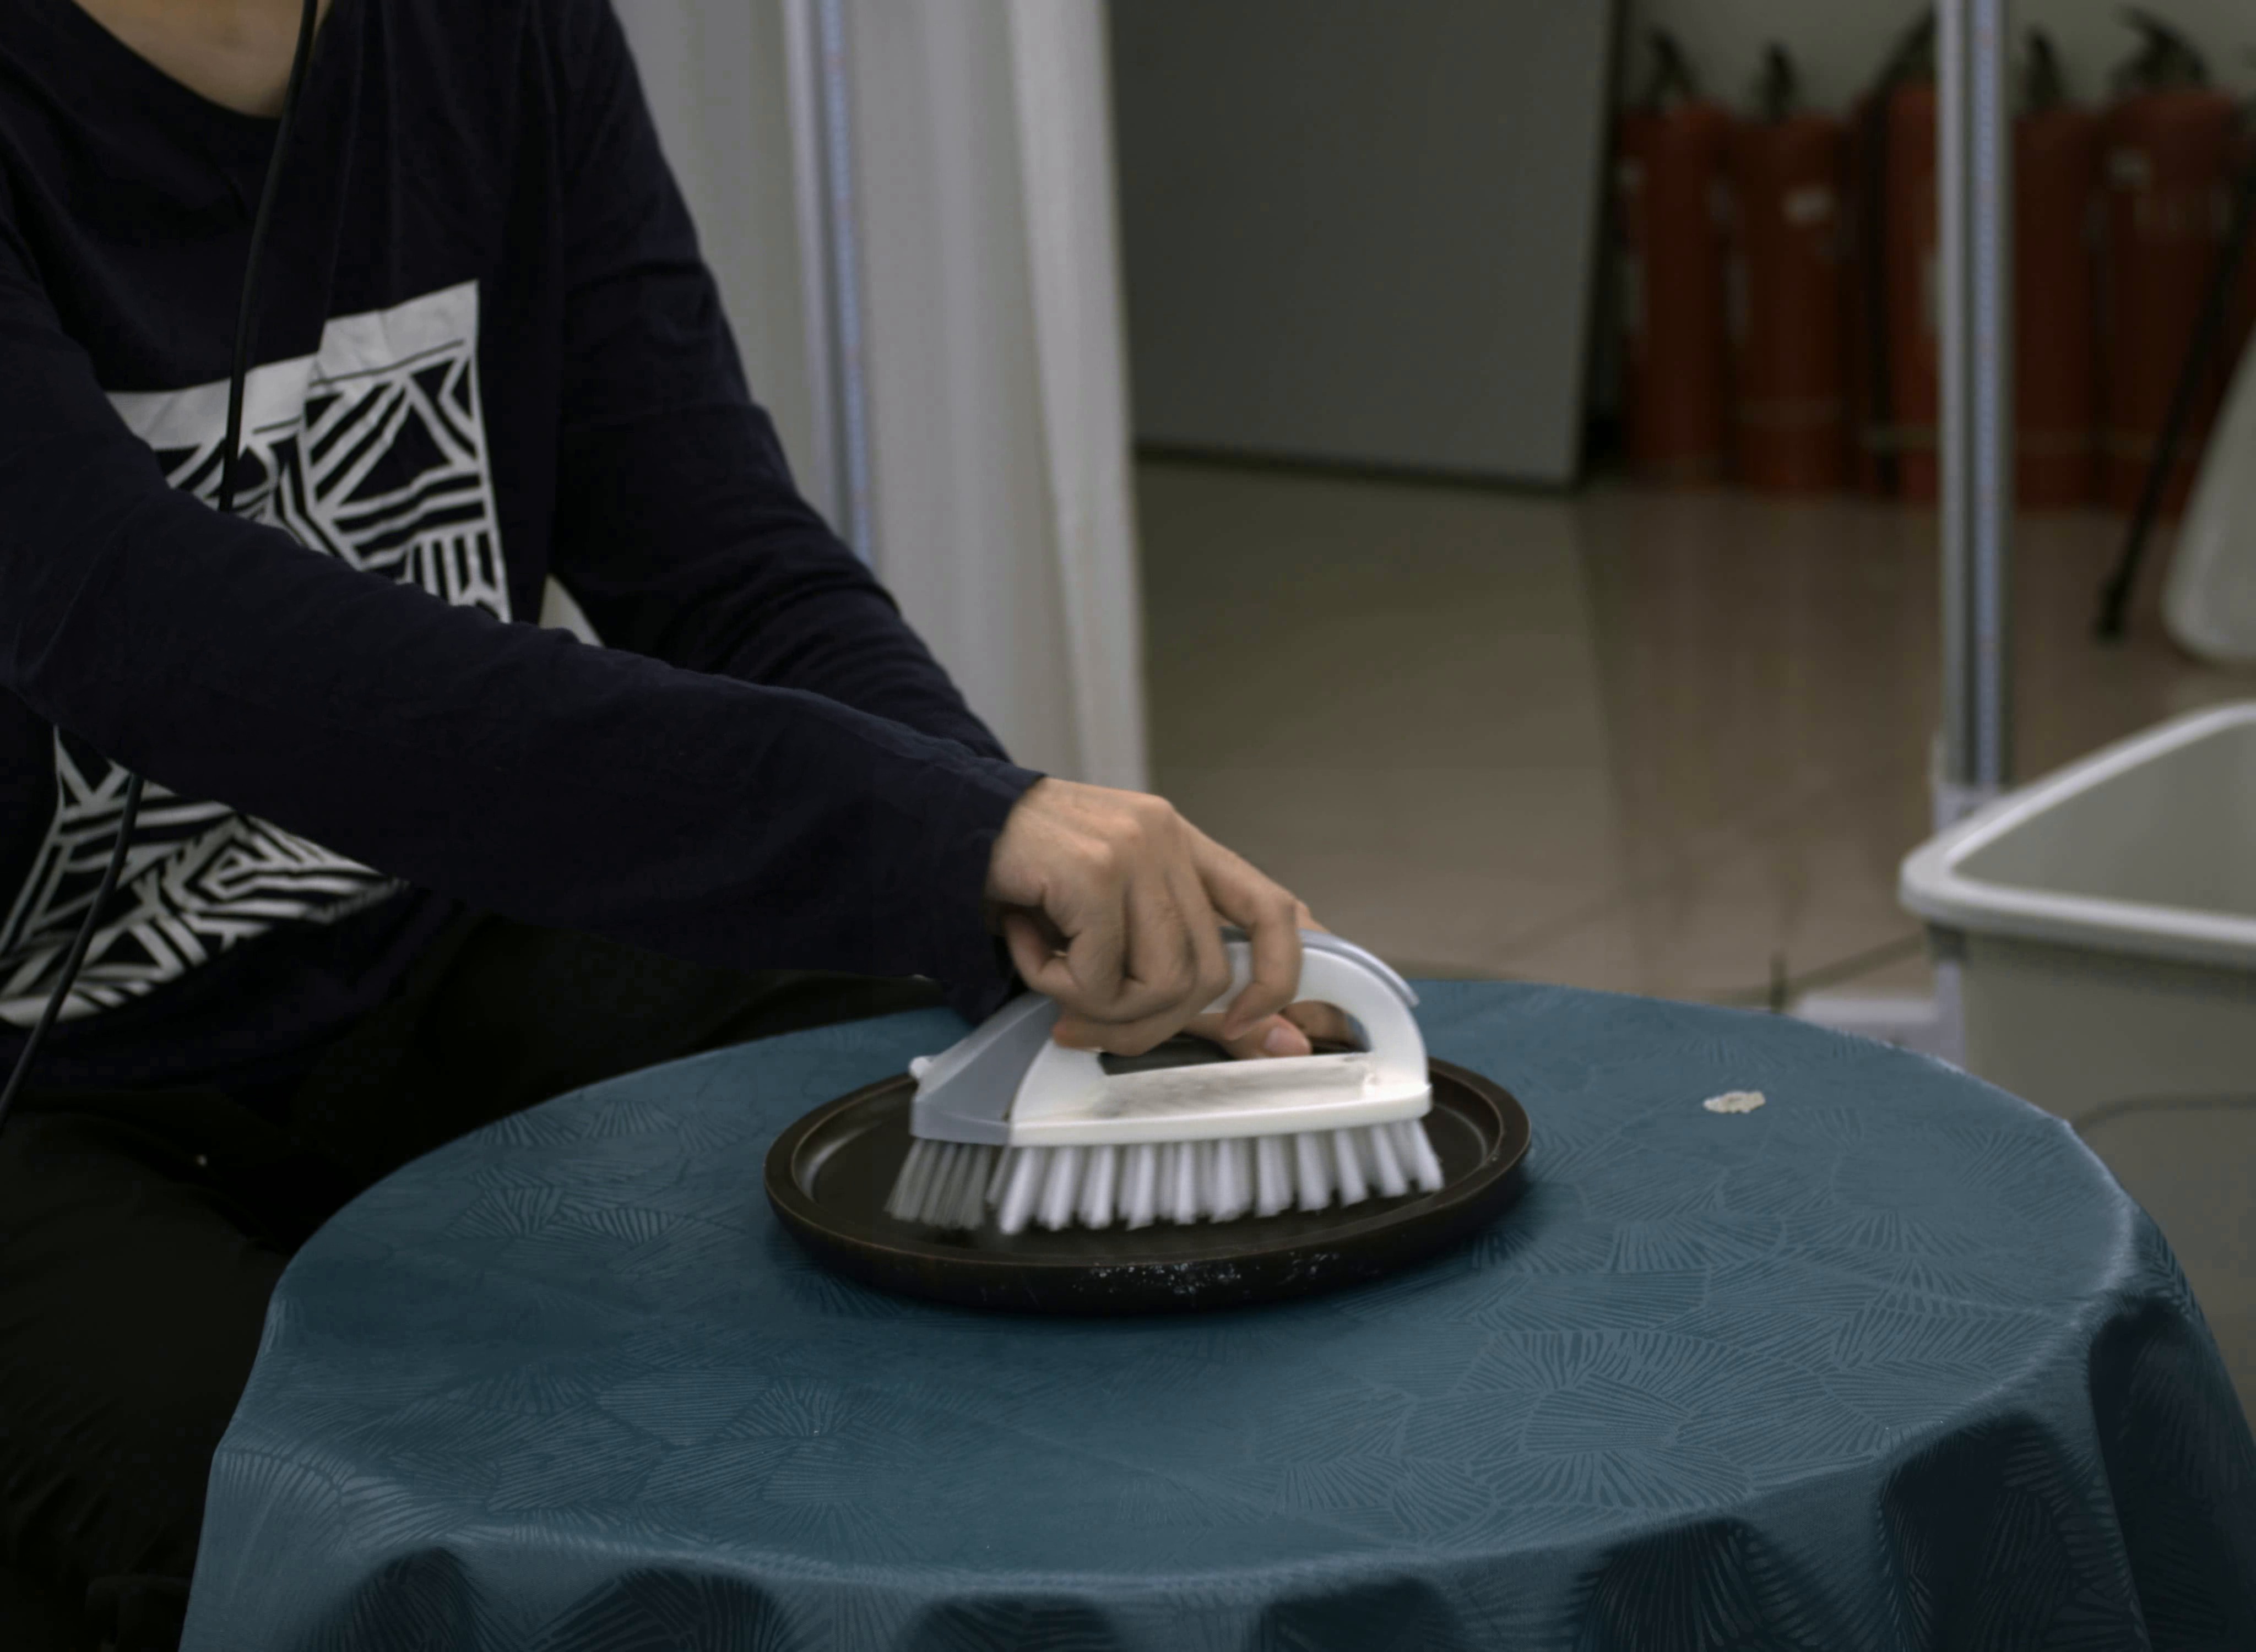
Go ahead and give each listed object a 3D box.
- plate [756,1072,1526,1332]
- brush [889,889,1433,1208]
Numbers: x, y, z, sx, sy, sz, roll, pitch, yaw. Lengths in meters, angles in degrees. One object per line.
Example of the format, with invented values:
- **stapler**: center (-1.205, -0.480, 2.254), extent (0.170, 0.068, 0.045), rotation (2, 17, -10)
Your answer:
- **plate**: center (0.004, 0.117, 1.757), extent (0.251, 0.029, 0.255), rotation (-4, 14, 0)
- **brush**: center (0.008, 0.070, 1.699), extent (0.173, 0.095, 0.061), rotation (-6, 14, -3)
